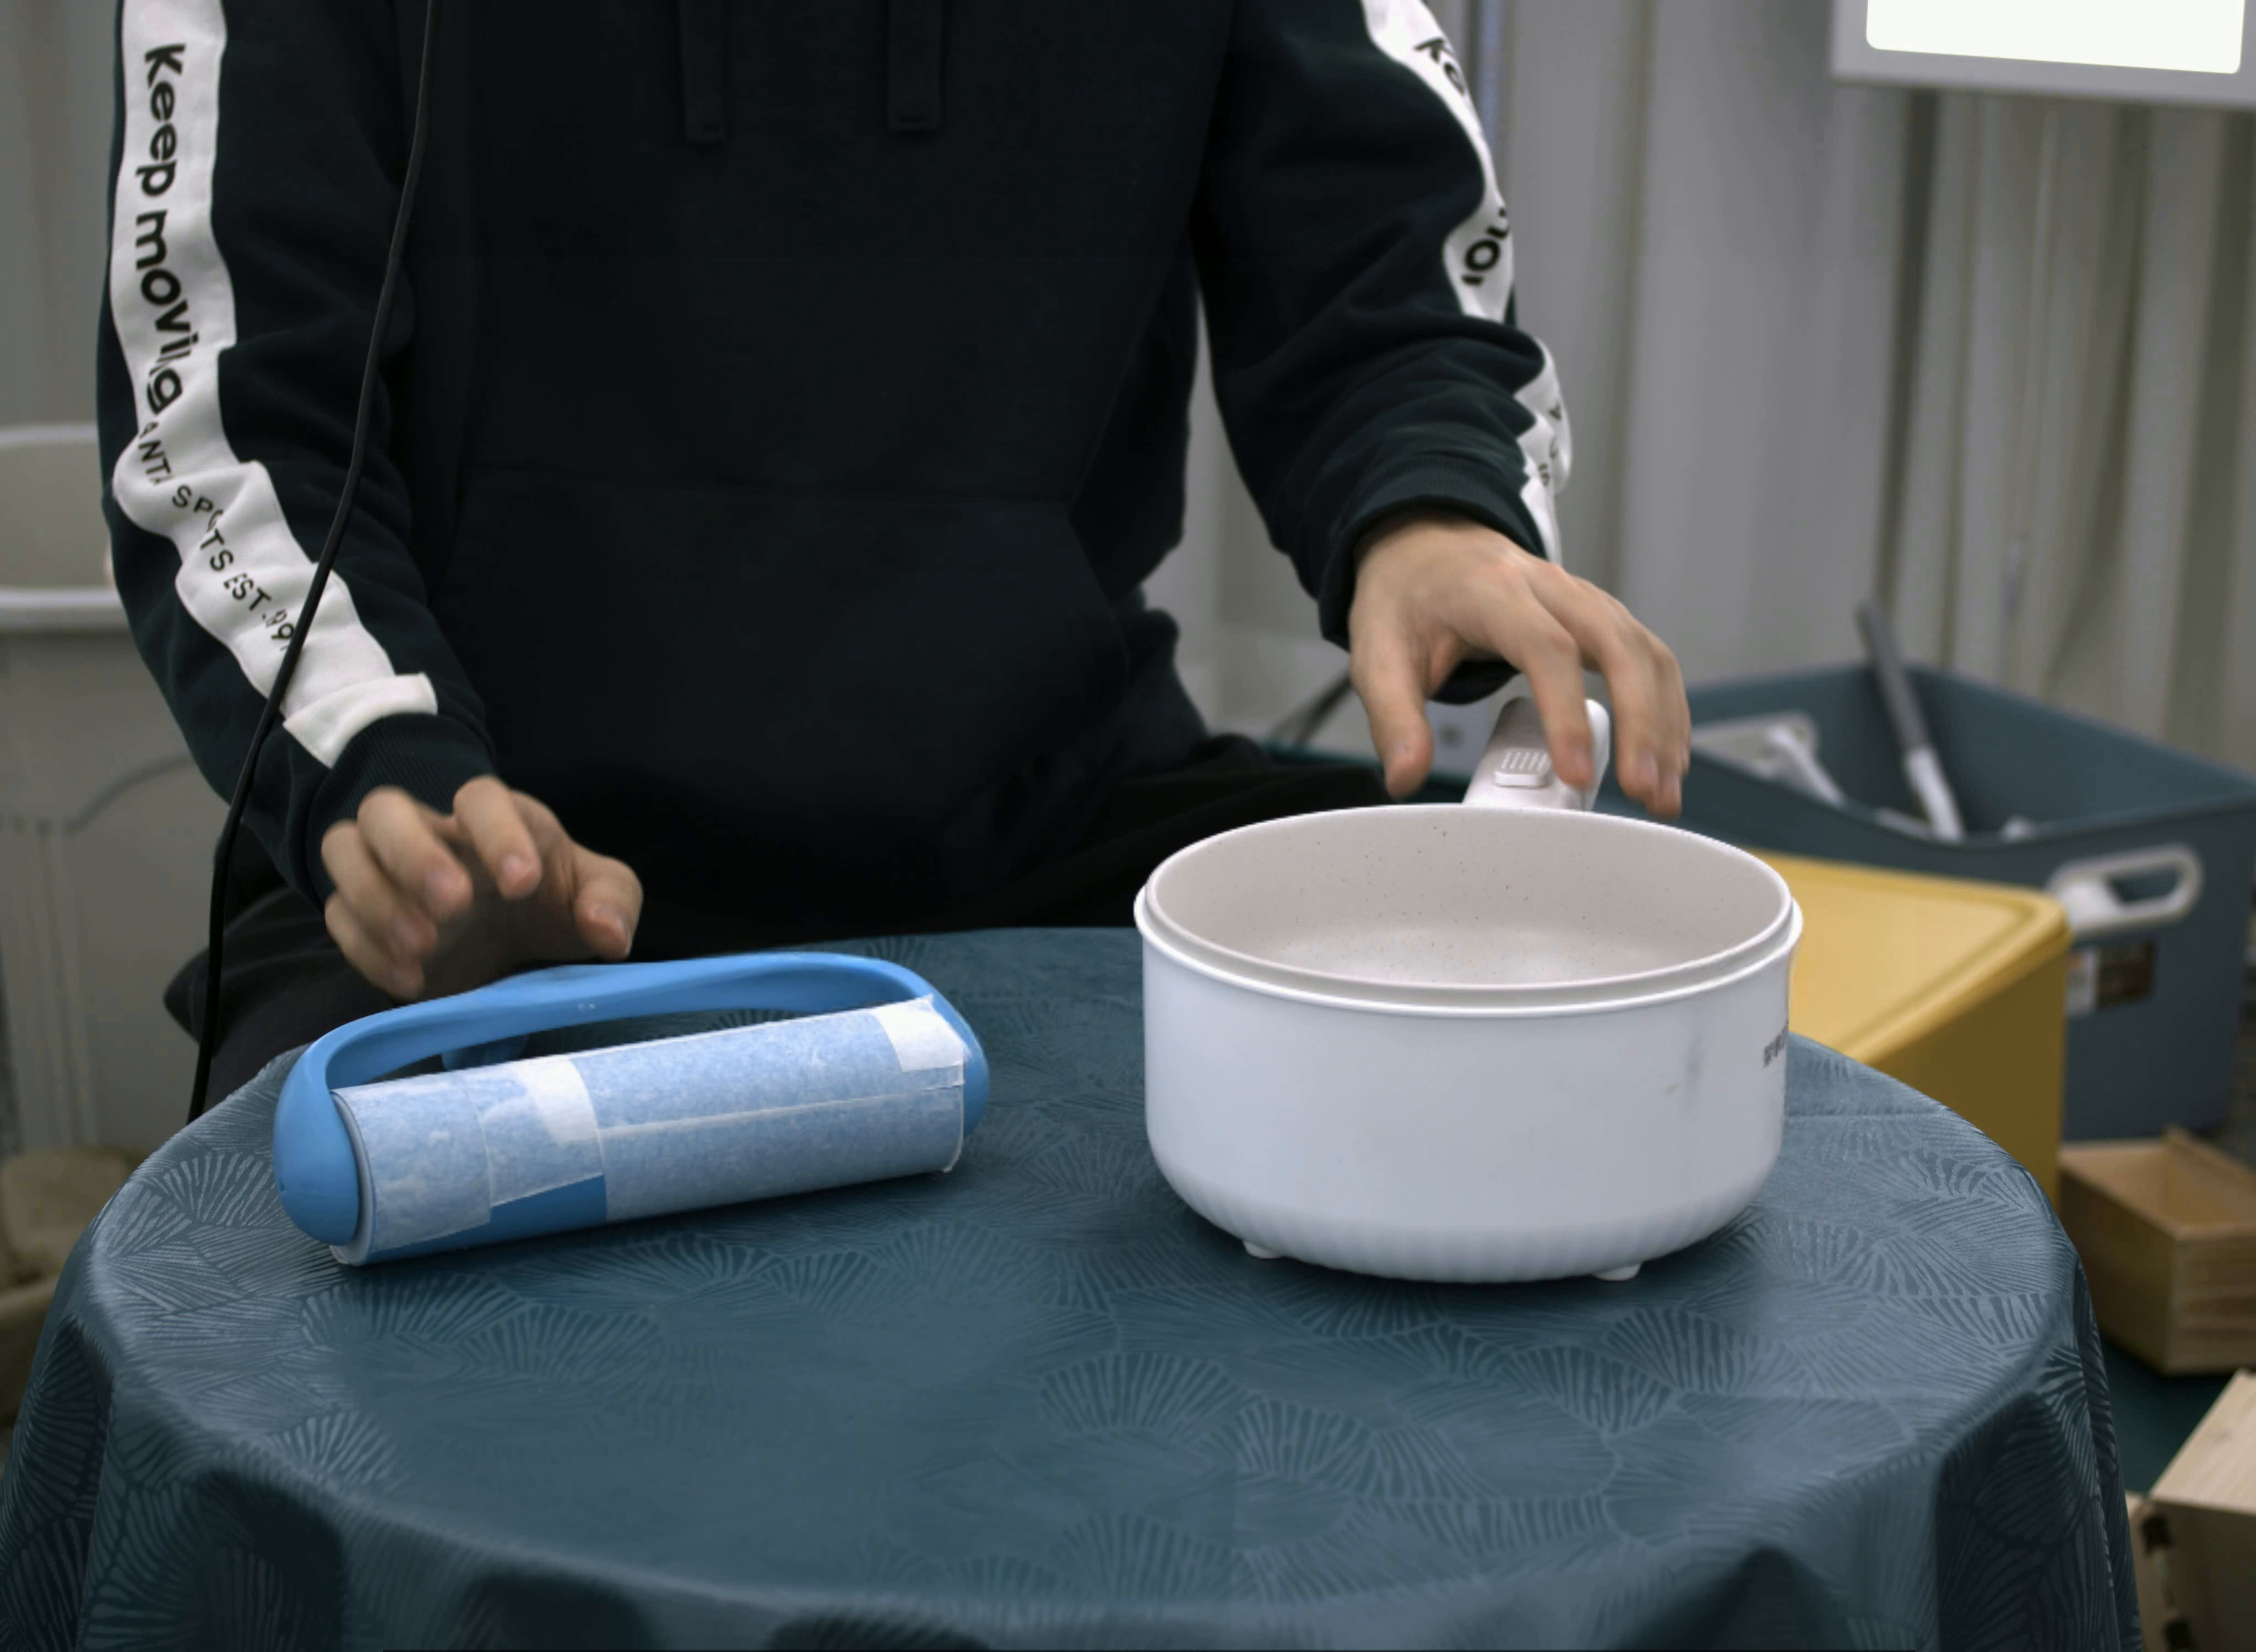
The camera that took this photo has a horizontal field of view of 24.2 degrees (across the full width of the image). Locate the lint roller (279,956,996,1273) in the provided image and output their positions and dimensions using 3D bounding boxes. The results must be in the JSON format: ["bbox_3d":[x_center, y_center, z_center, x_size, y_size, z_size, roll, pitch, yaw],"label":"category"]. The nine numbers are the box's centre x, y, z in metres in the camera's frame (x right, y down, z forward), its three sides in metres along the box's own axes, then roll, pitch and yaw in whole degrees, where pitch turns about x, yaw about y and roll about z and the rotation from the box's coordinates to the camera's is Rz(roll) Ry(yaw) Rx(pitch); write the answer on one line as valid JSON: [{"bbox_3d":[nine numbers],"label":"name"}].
[{"bbox_3d":[-0.174,0.077,1.634,0.230,0.068,0.178,-10,20,-29],"label":"lint roller"}]

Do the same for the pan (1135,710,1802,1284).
[{"bbox_3d":[0.117,0.049,1.668,0.200,0.103,0.354,2,15,10],"label":"pan"}]
